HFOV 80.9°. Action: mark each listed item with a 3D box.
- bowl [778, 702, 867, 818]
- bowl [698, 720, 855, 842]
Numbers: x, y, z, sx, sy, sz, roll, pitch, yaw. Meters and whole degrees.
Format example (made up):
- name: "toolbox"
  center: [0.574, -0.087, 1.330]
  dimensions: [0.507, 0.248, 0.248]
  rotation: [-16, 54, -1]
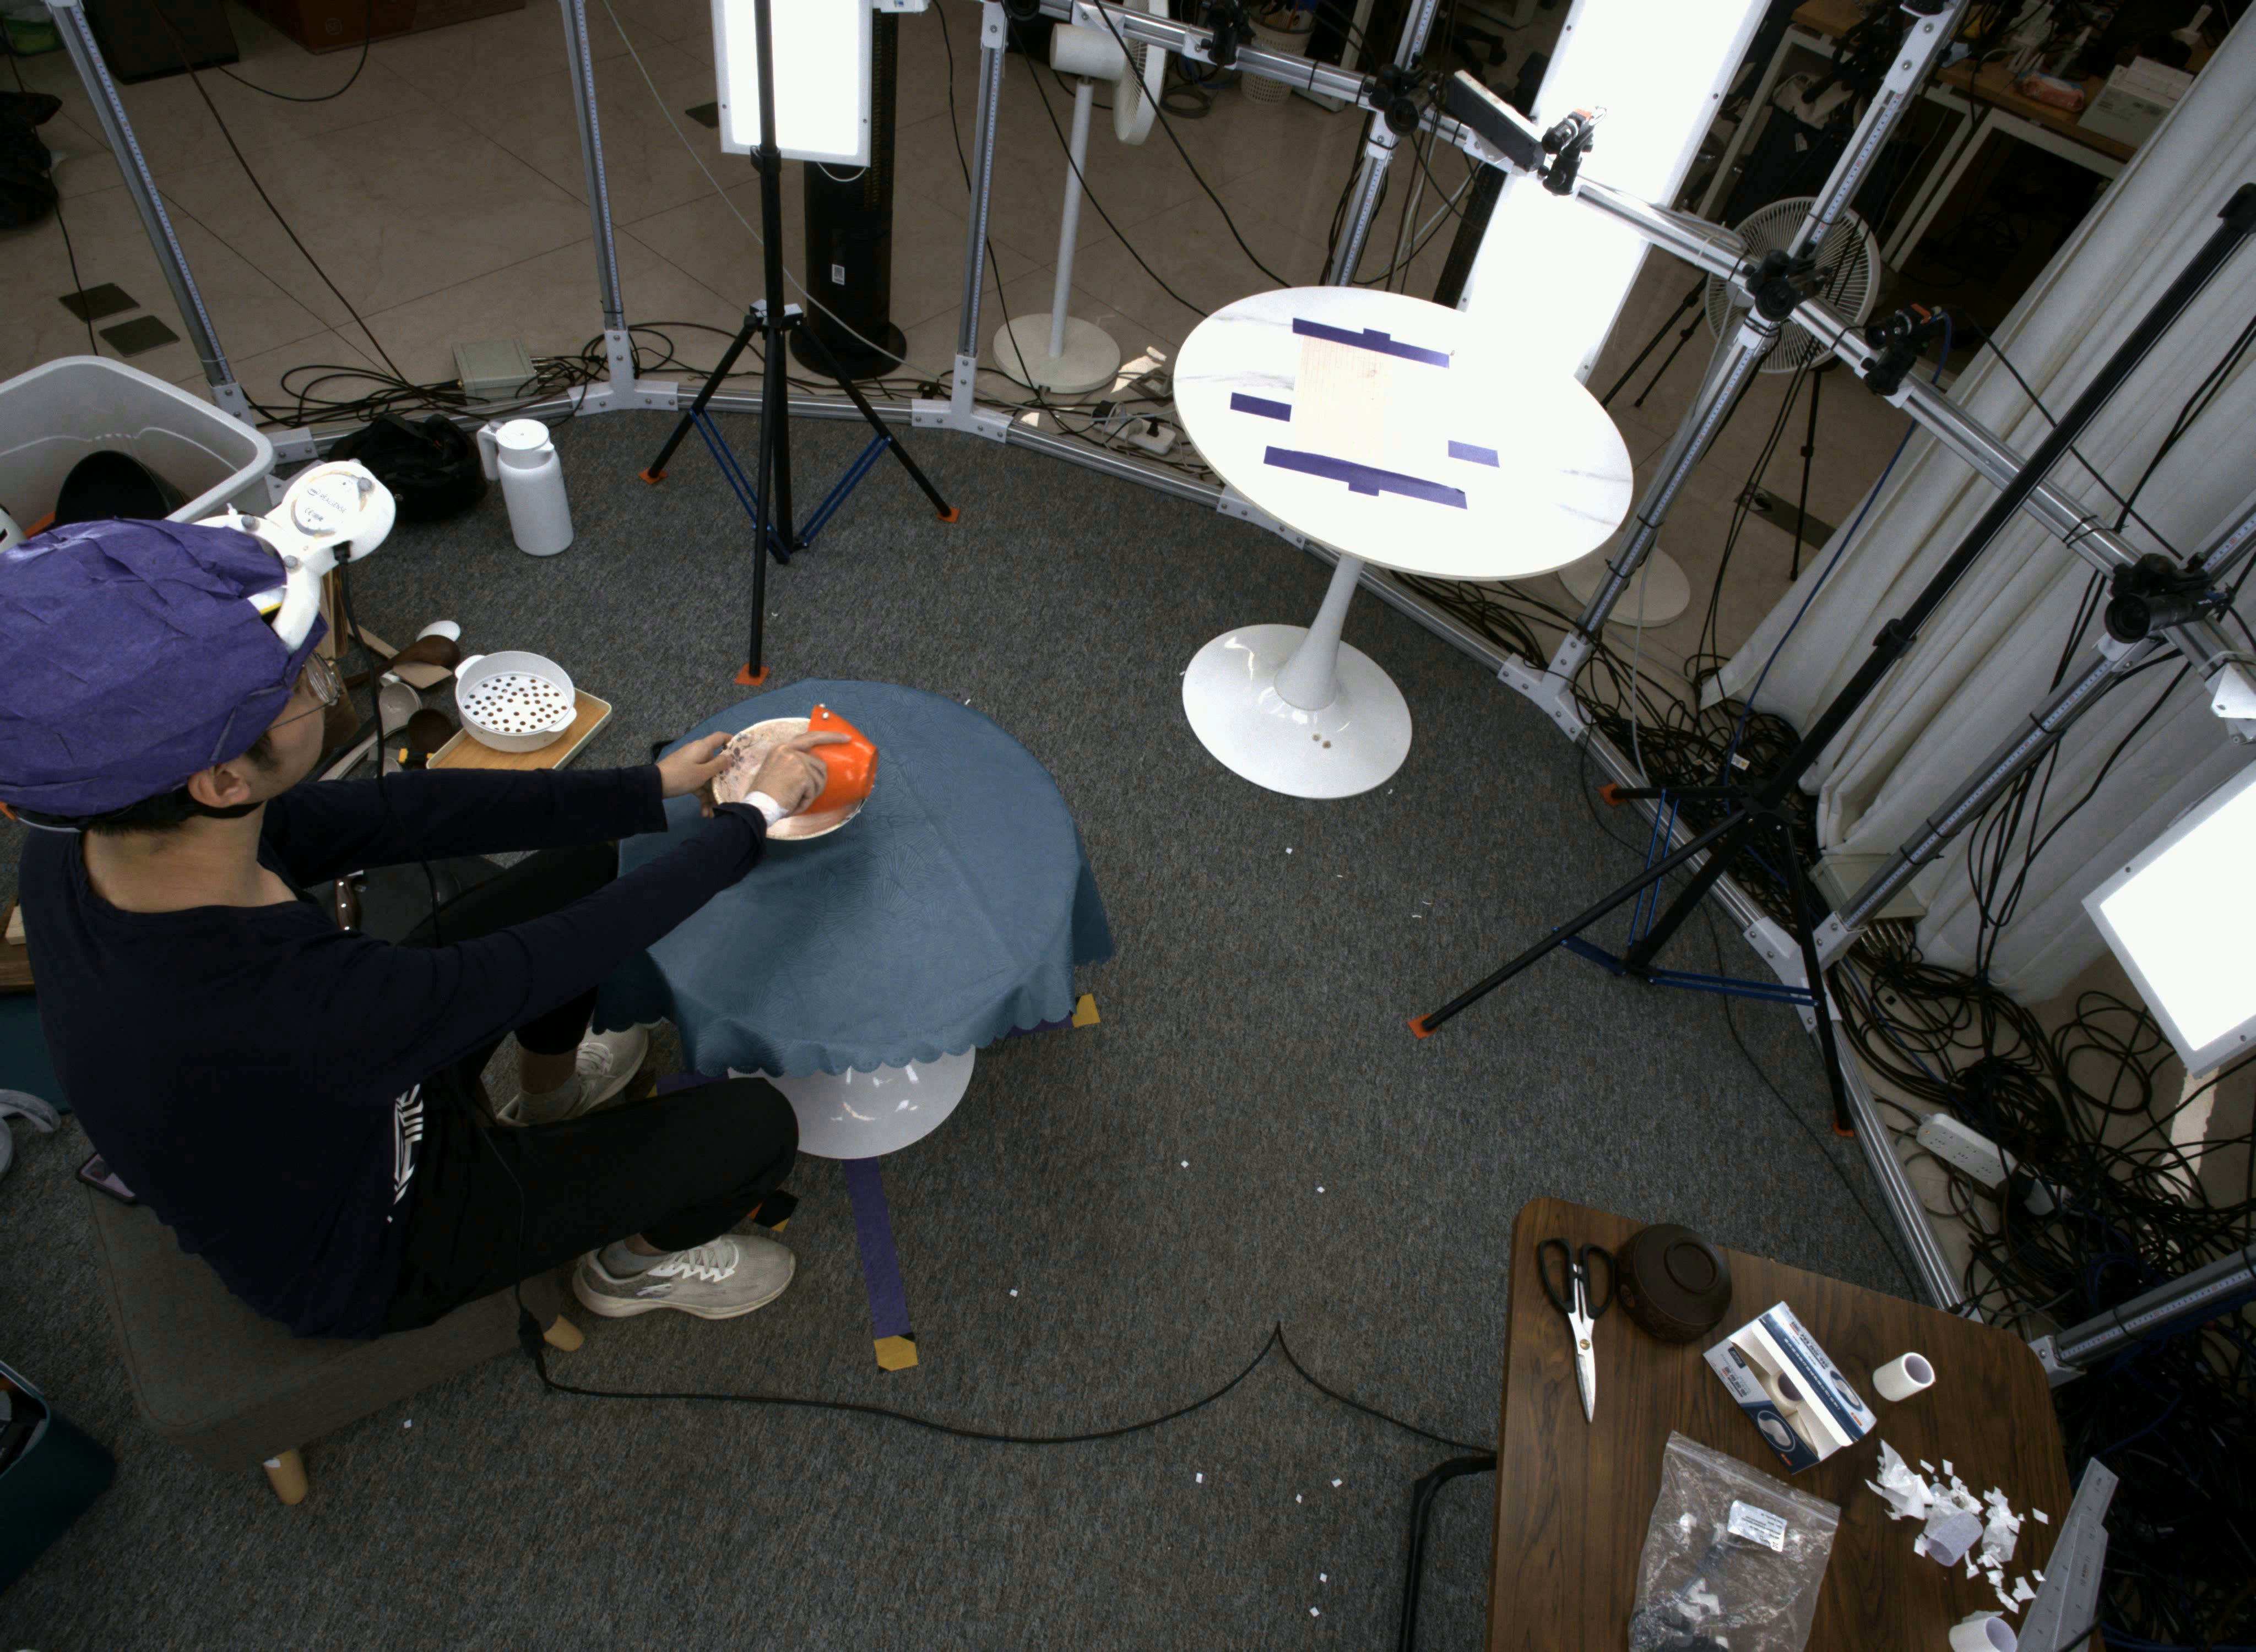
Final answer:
- name: "bowl"
  center: [-0.389, -0.077, 1.647]
  dimensions: [0.104, 0.151, 0.145]
  rotation: [10, 51, -4]
- name: "bowl"
  center: [-0.458, -0.040, 1.707]
  dimensions: [0.203, 0.079, 0.200]
  rotation: [7, 52, -7]
